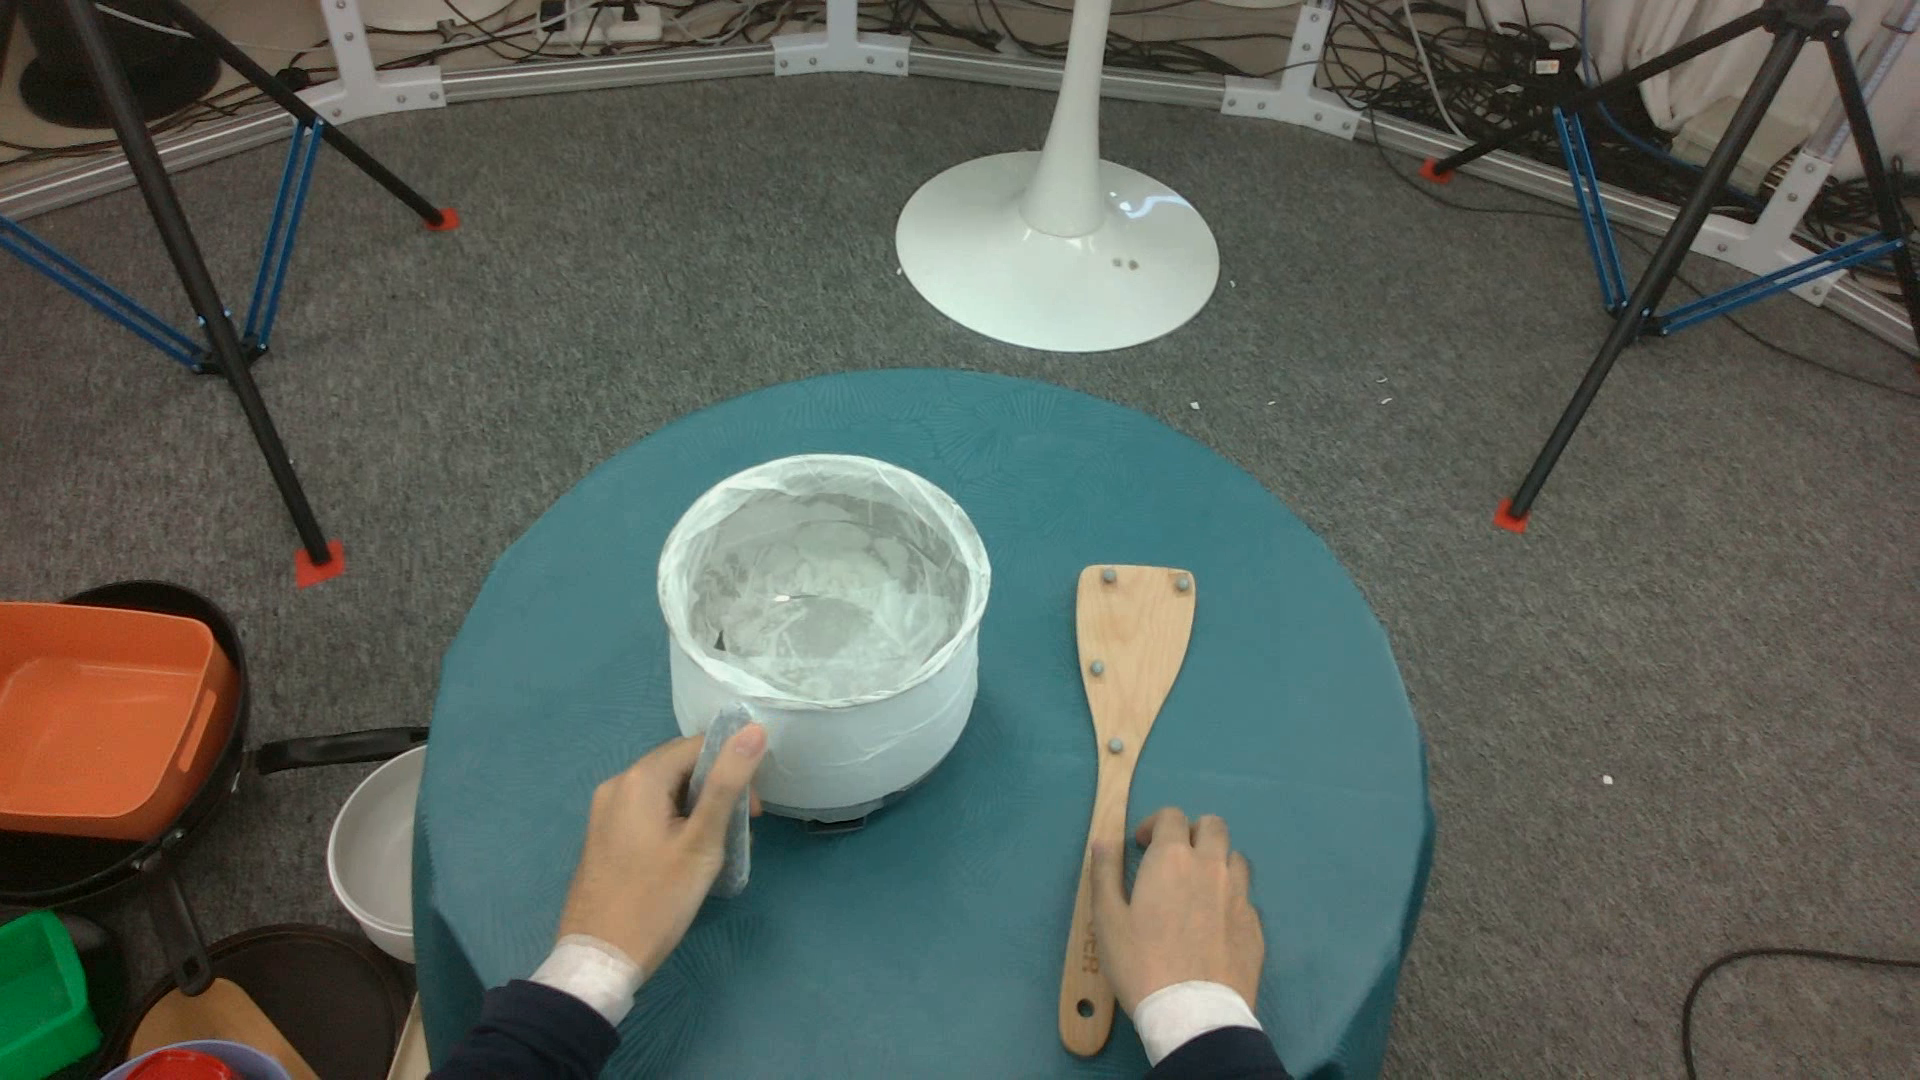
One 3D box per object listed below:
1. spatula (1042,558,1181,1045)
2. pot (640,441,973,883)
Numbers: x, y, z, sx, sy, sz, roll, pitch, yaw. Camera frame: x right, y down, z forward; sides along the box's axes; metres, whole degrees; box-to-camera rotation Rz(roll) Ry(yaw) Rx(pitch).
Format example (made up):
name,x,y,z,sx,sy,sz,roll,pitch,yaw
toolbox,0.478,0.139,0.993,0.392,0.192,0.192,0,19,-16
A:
name,x,y,z,sx,sy,sz,roll,pitch,yaw
spatula,0.081,0.134,0.809,0.080,0.016,0.329,11,49,3
pot,-0.095,0.070,0.761,0.178,0.136,0.235,17,48,10
